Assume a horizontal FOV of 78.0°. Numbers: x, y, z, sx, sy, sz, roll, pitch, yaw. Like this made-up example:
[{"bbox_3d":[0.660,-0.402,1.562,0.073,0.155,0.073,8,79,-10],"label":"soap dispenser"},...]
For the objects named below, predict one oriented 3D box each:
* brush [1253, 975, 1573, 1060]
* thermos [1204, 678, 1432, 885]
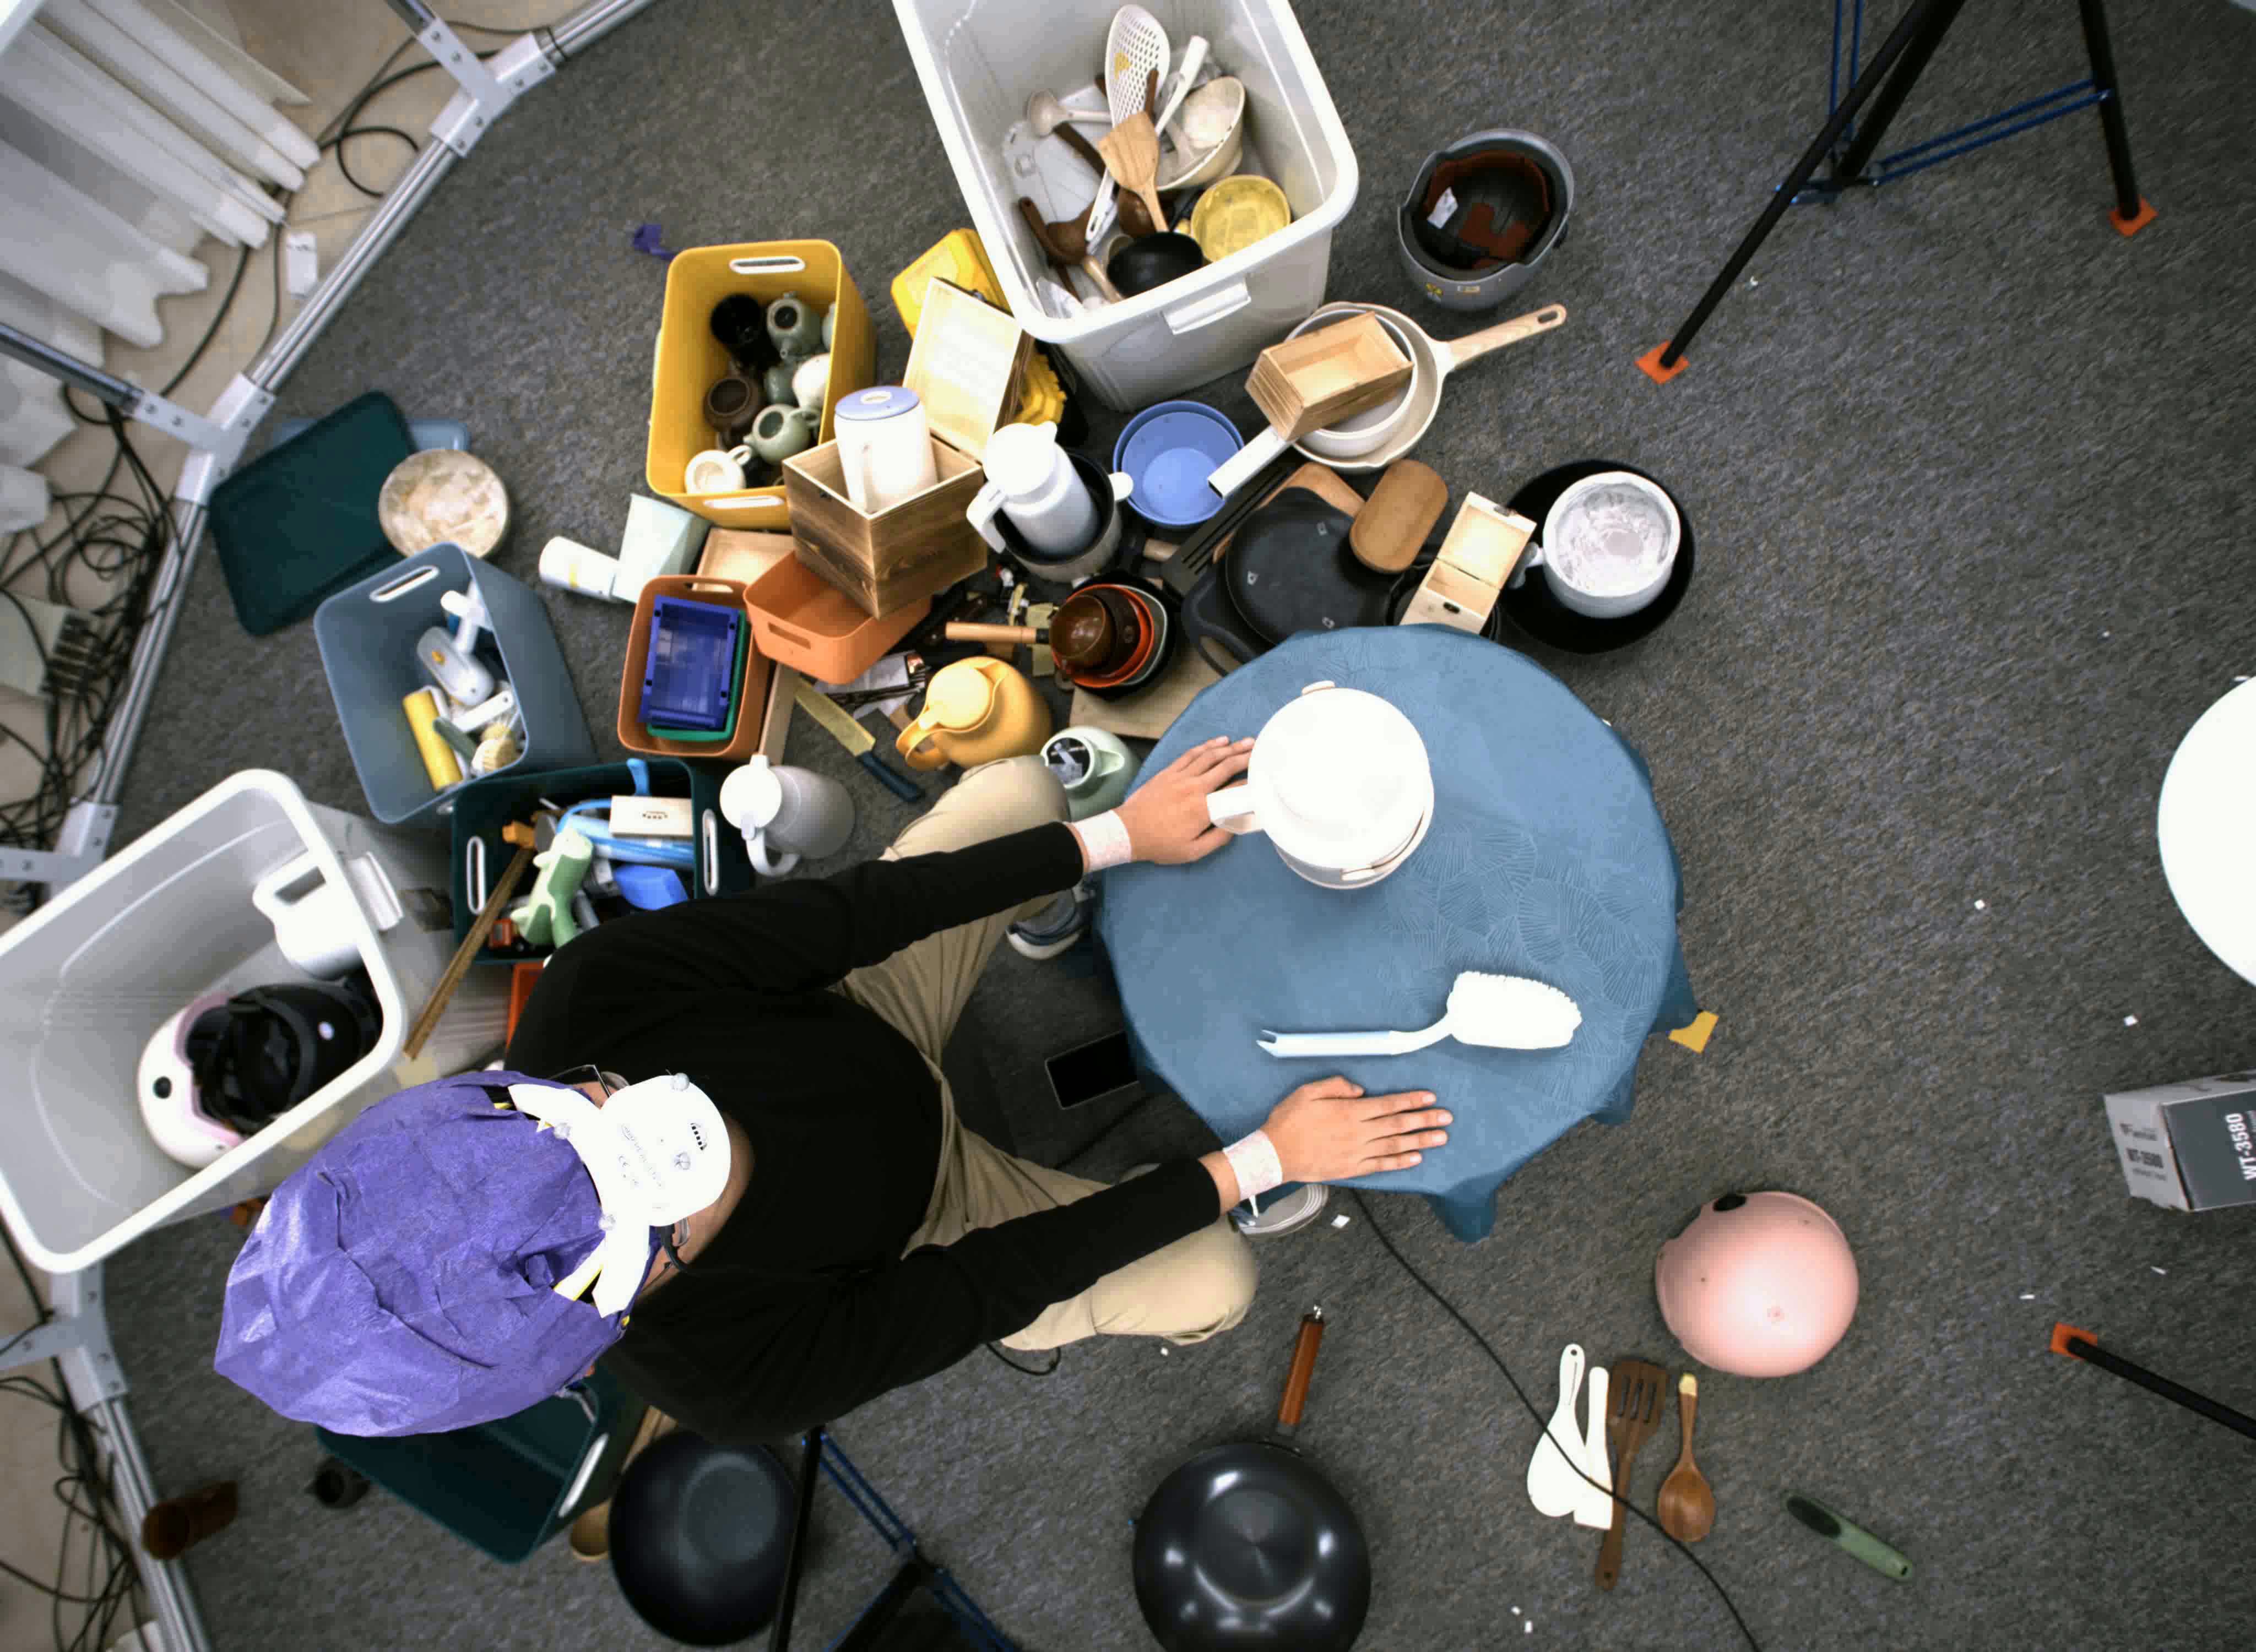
[{"bbox_3d":[0.288,0.195,1.409,0.327,0.083,0.084,-3,90,9],"label":"brush"},{"bbox_3d":[0.181,-0.034,1.281,0.208,0.406,0.174,-13,84,8],"label":"thermos"}]
